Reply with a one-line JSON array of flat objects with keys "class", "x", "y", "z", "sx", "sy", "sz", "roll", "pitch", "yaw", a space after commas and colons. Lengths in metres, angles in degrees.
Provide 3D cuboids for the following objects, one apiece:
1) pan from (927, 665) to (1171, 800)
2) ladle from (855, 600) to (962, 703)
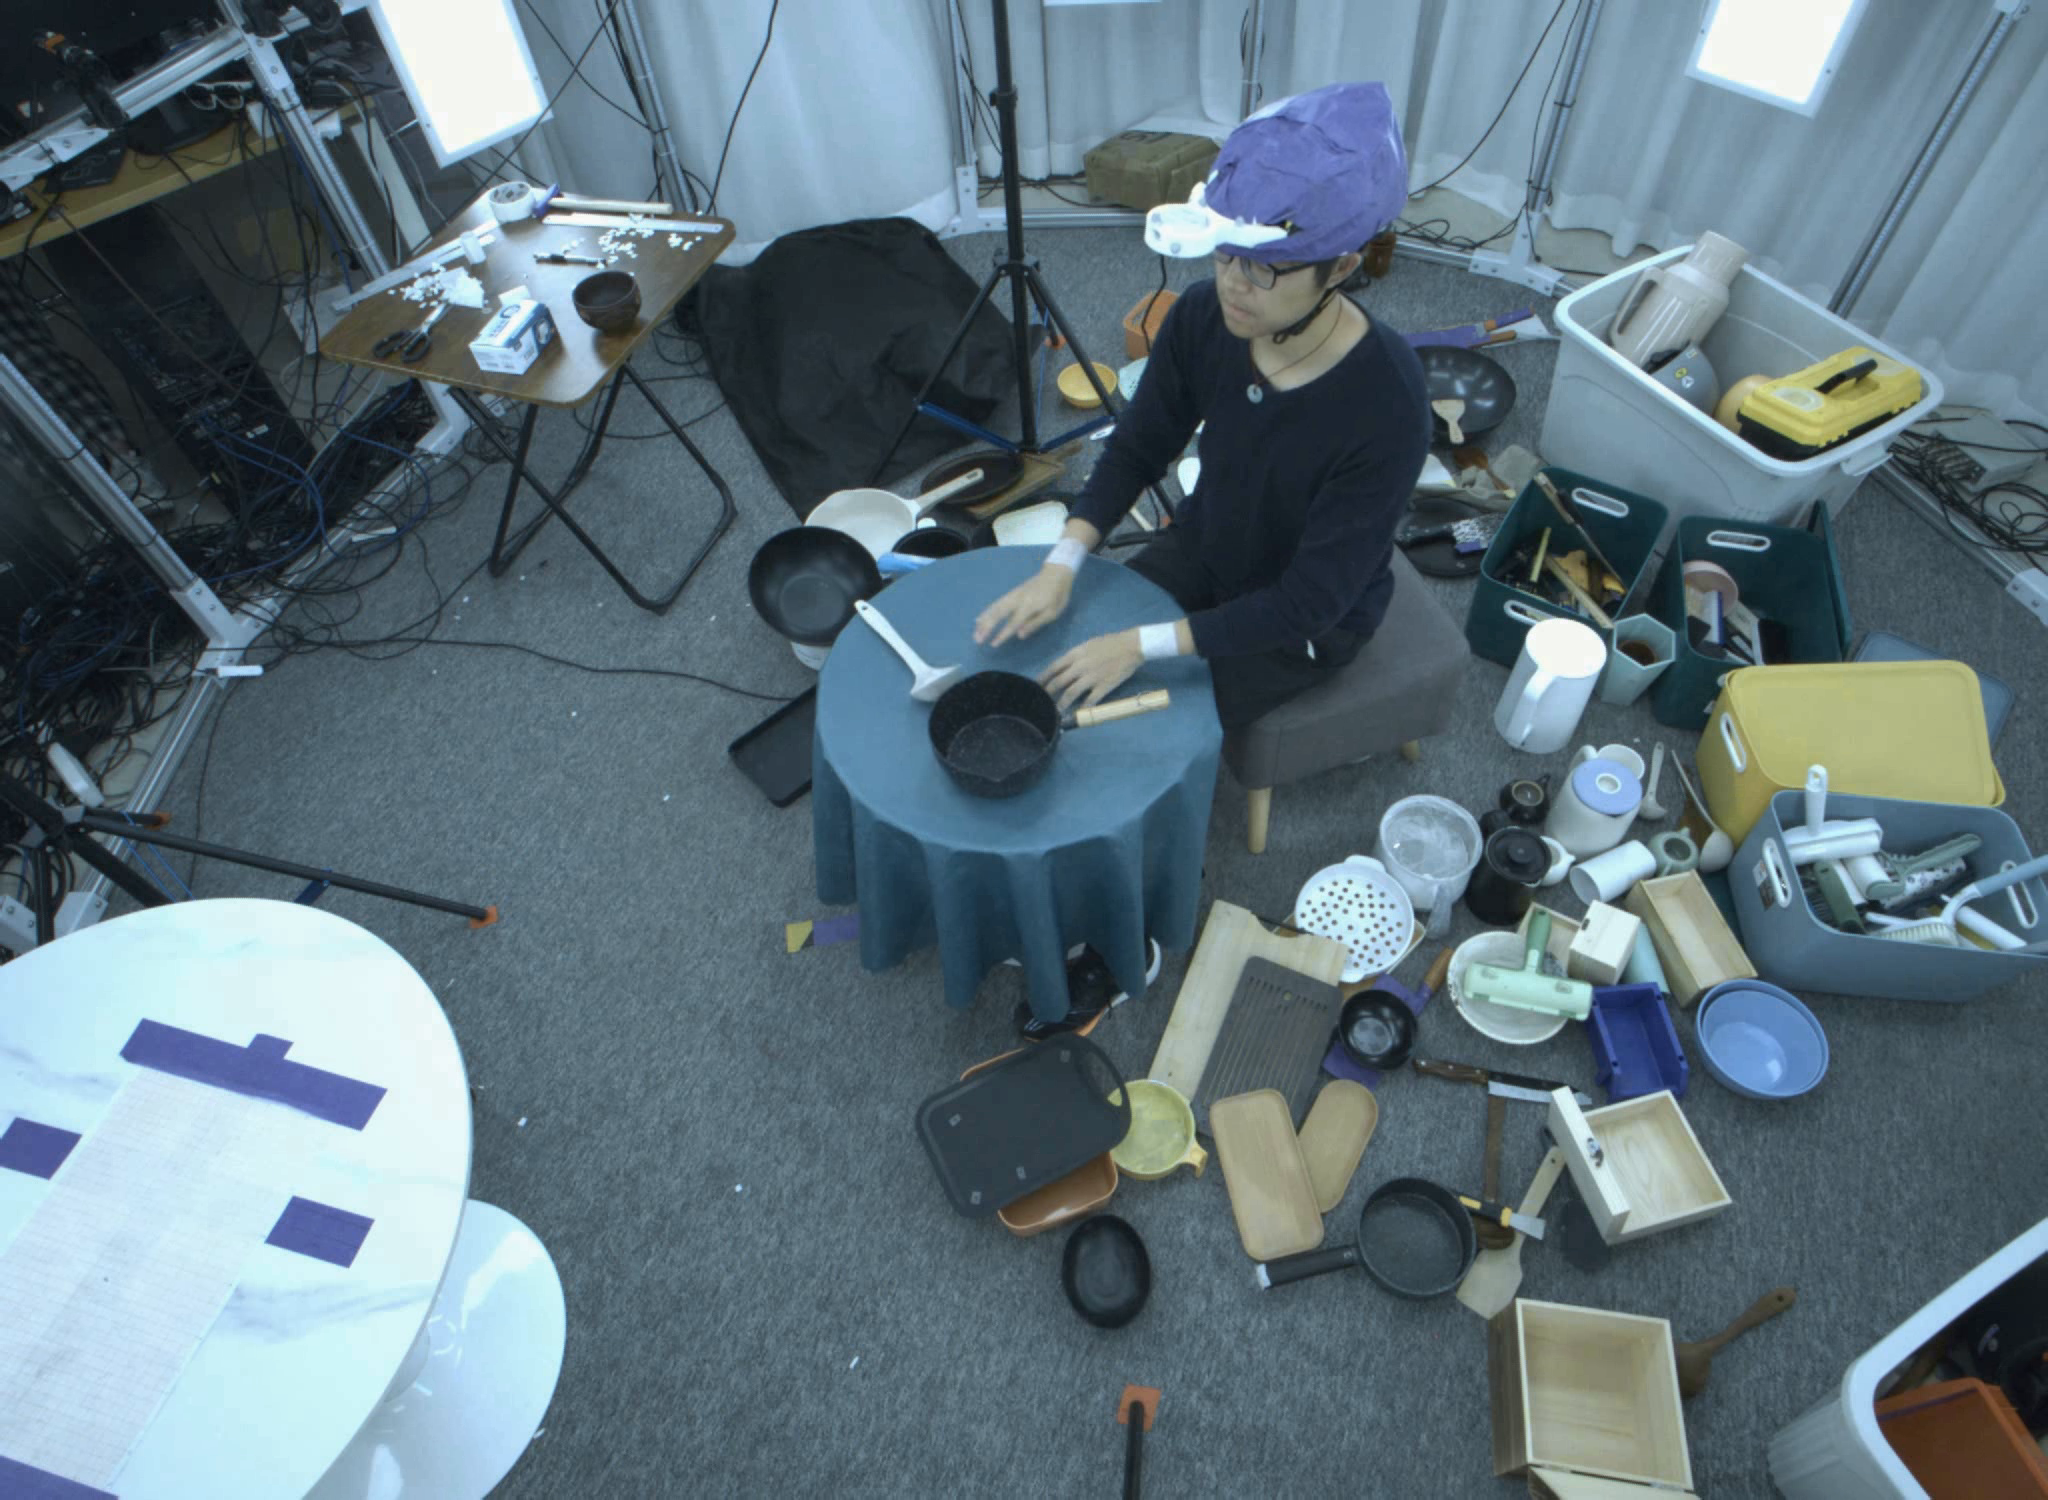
[{"class": "pan", "x": 0.037, "y": -0.031, "z": 1.741, "sx": 0.343, "sy": 0.109, "sz": 0.204, "roll": -7, "pitch": 54, "yaw": -1}, {"class": "ladle", "x": -0.193, "y": -0.171, "z": 1.874, "sx": 0.090, "sy": 0.070, "sz": 0.269, "roll": -35, "pitch": 60, "yaw": -14}]
